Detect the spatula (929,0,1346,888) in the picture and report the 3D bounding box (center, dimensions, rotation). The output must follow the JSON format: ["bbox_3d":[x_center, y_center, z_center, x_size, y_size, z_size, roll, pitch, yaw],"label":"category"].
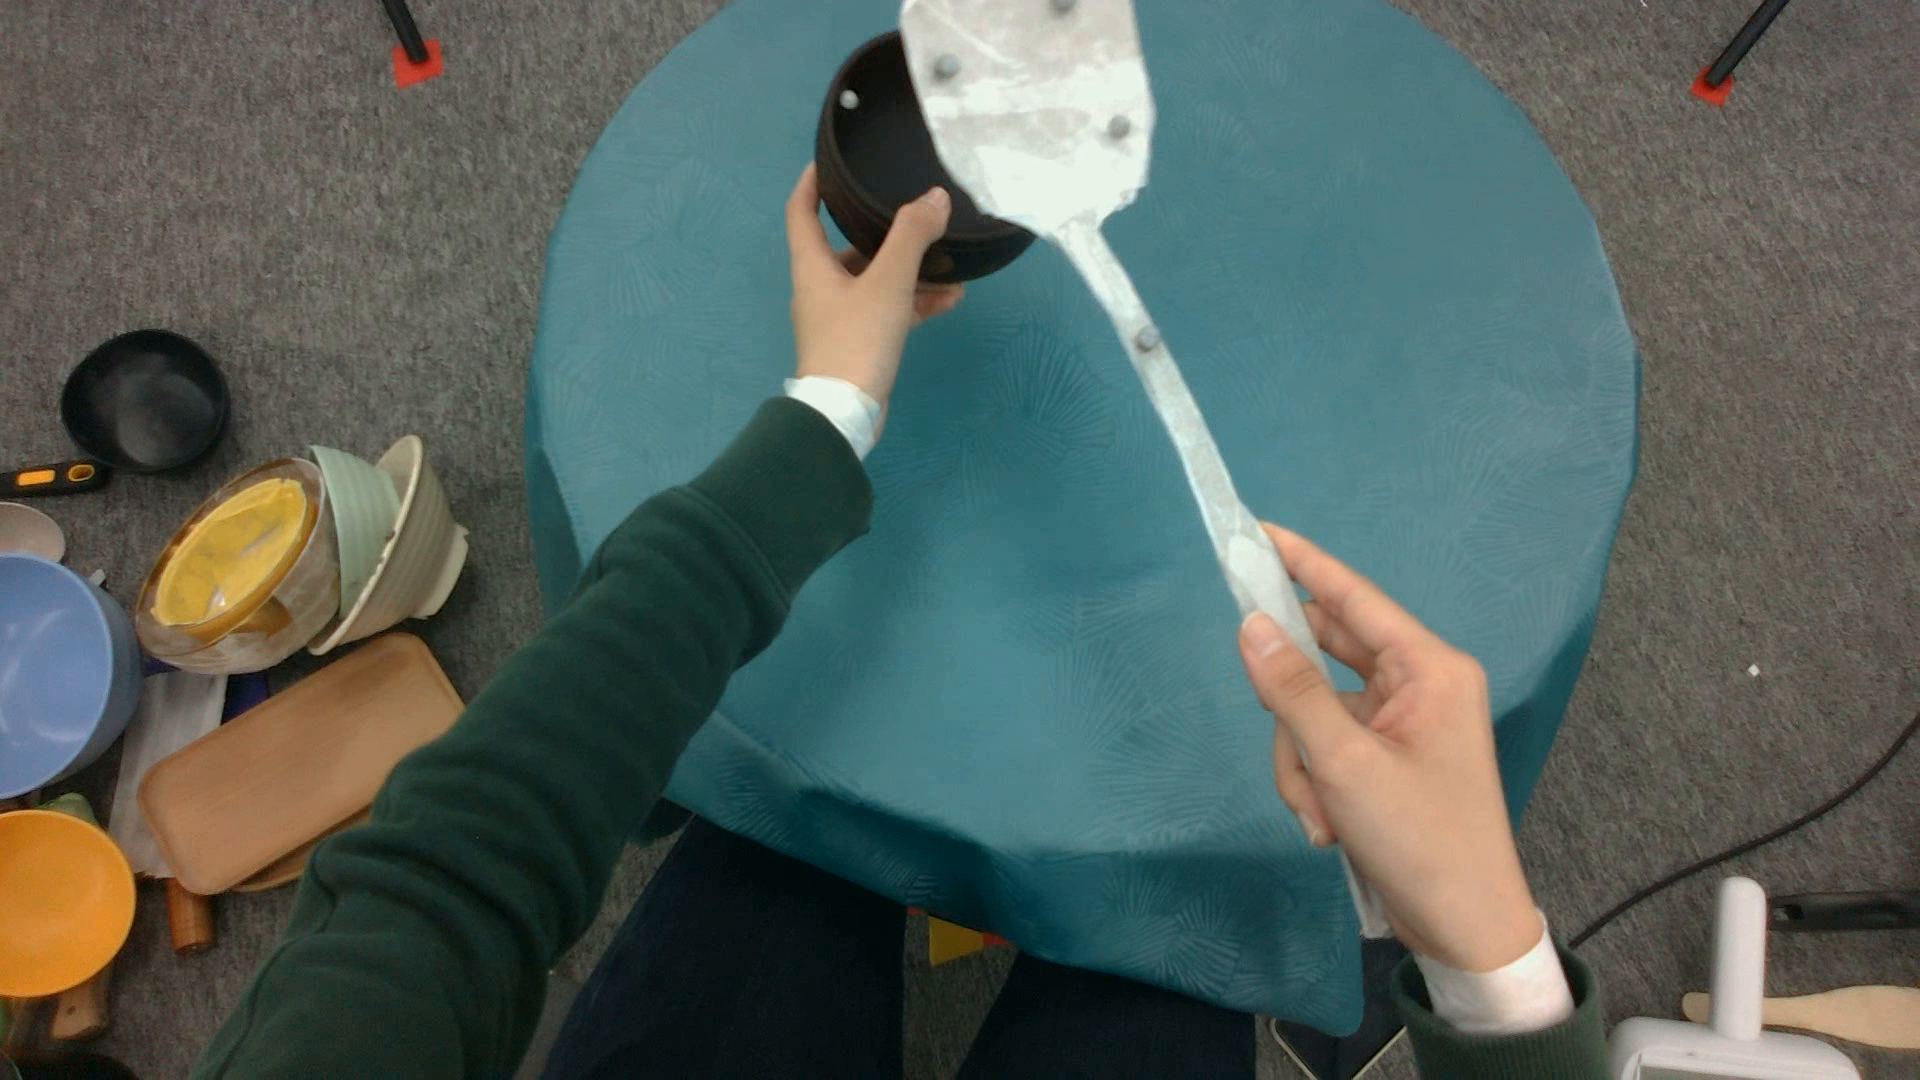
[{"bbox_3d":[0.073,-0.063,0.483,0.099,0.044,0.366,-9,67,-21],"label":"spatula"}]

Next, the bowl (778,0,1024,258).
[{"bbox_3d":[-0.028,-0.186,0.650,0.118,0.069,0.118,5,71,-13],"label":"bowl"}]
